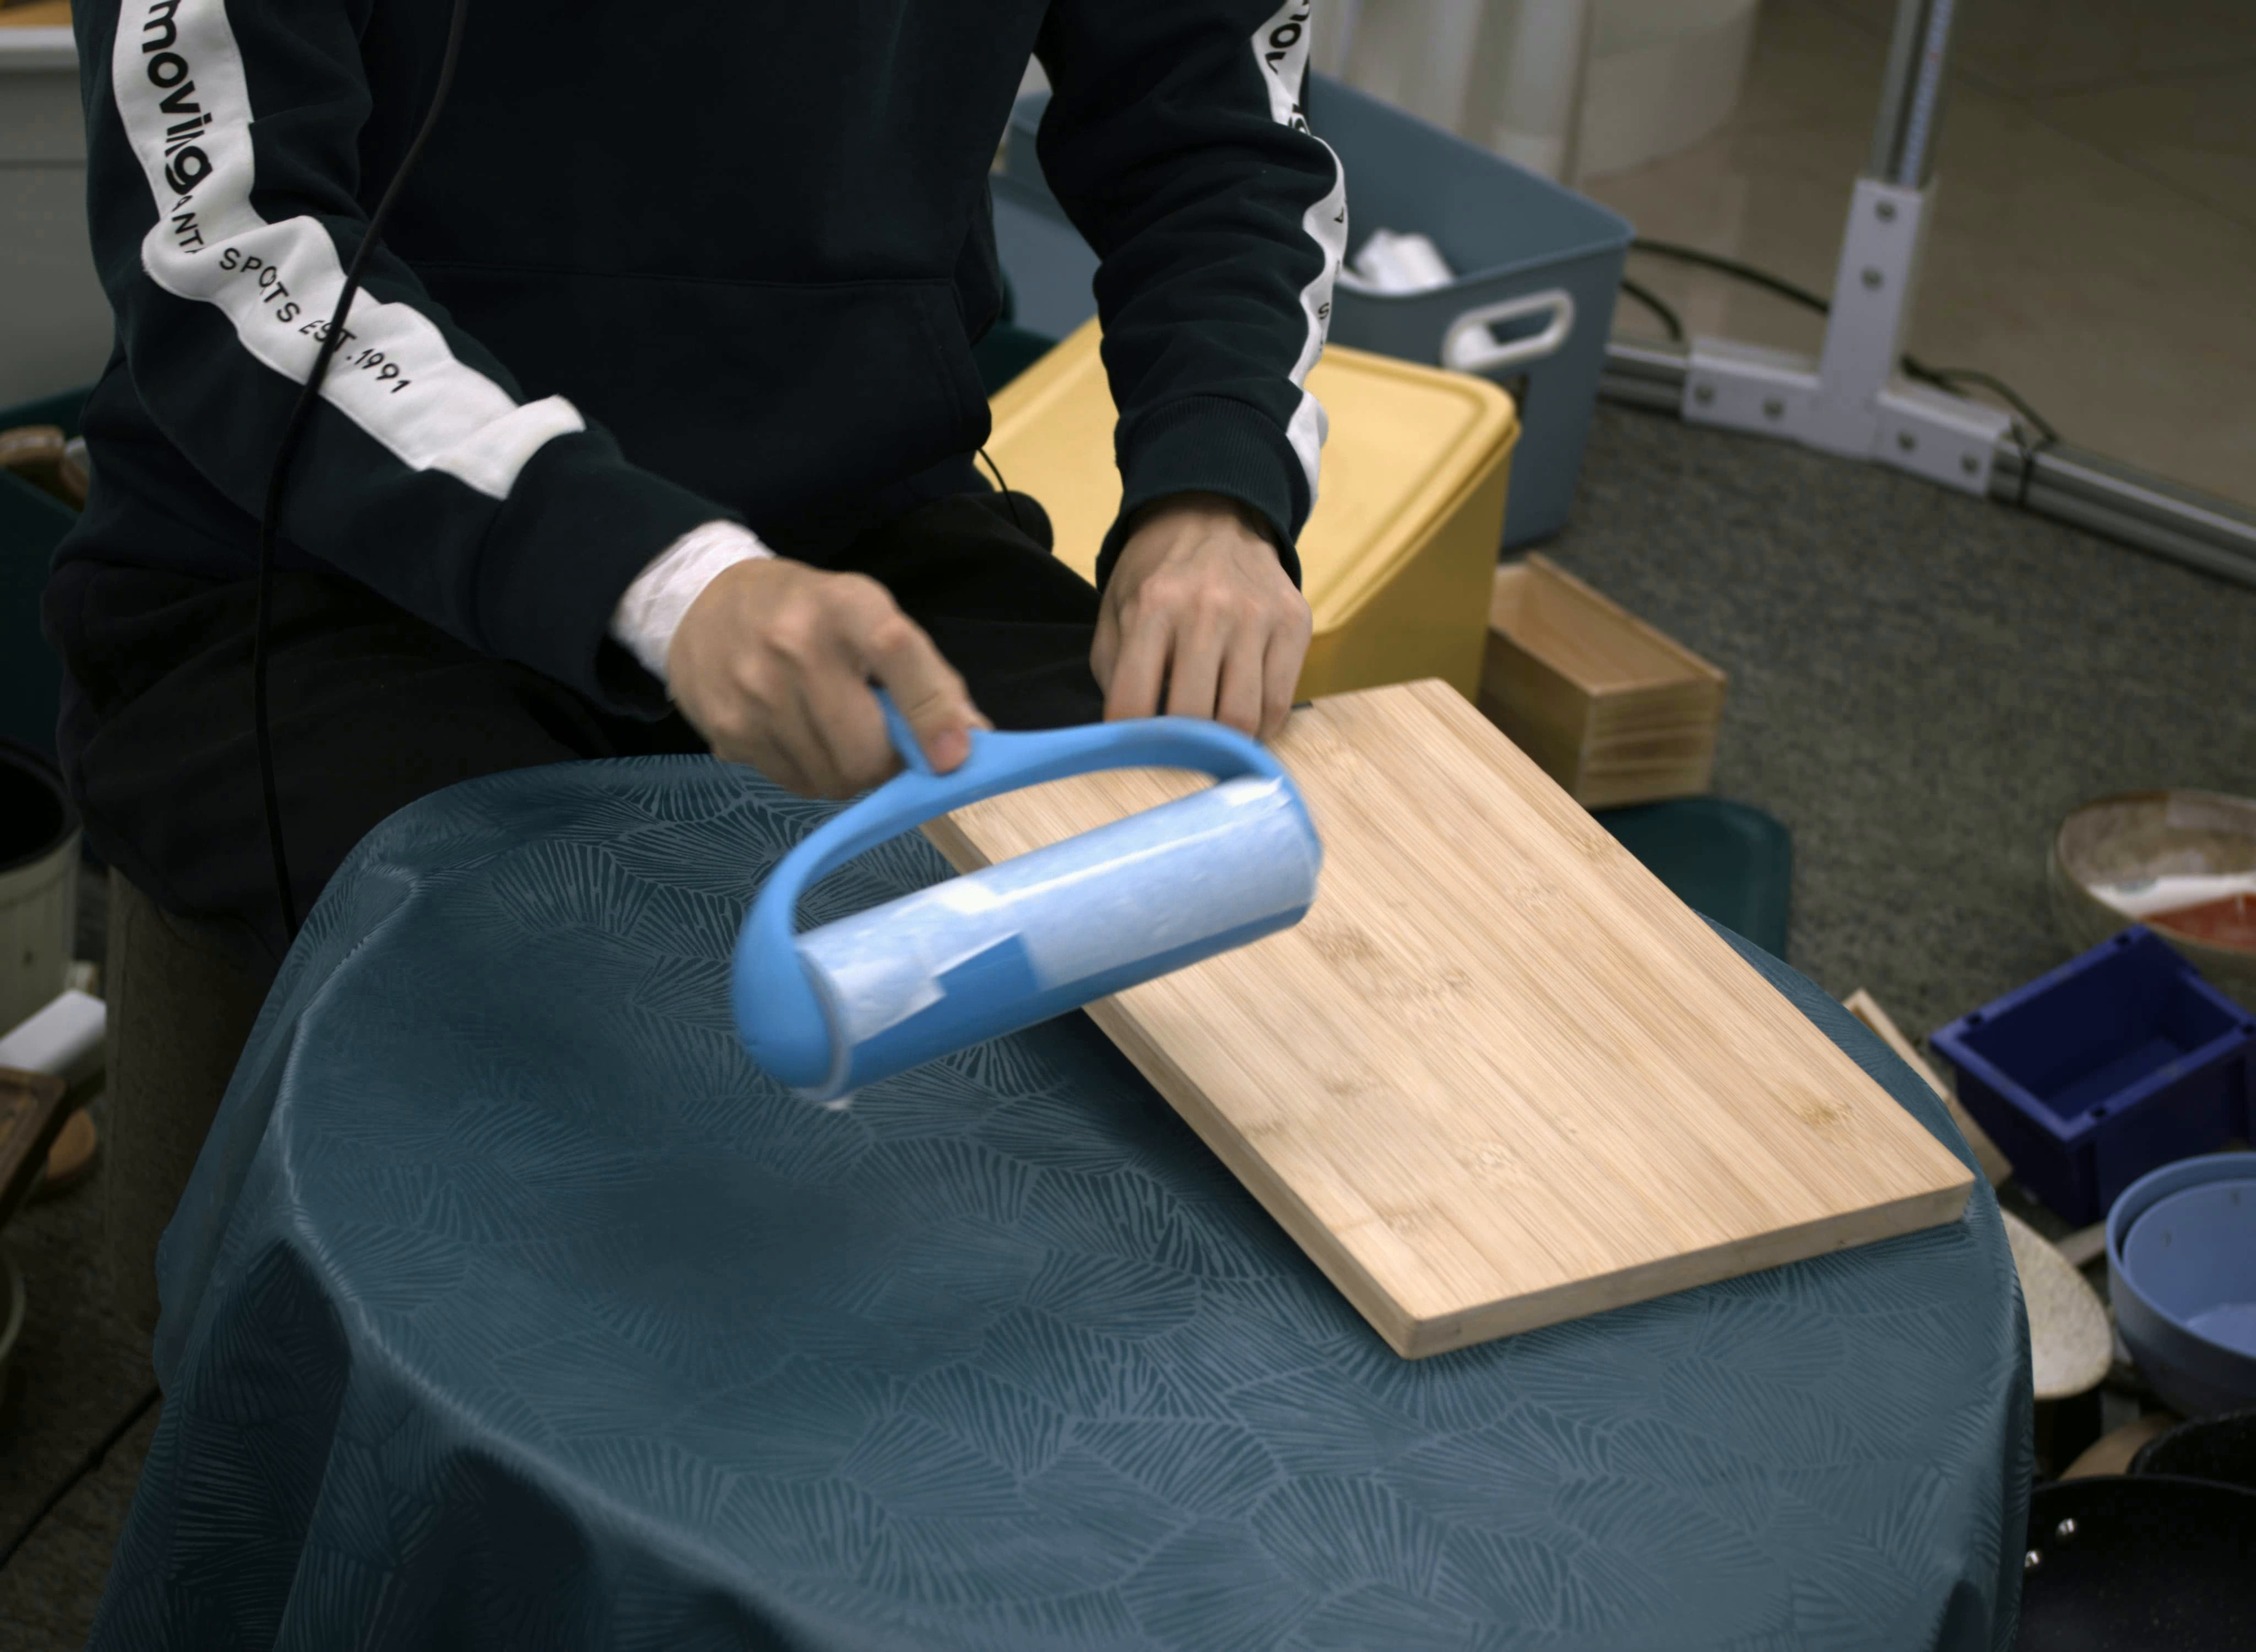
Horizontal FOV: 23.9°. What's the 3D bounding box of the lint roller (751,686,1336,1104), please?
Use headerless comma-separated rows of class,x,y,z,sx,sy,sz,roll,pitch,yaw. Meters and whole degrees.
lint roller,-0.061,-0.003,1.762,0.228,0.067,0.182,-24,54,-34

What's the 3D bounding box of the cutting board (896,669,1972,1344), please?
cutting board,0.102,0.056,1.898,0.249,0.023,0.352,-11,38,-31
